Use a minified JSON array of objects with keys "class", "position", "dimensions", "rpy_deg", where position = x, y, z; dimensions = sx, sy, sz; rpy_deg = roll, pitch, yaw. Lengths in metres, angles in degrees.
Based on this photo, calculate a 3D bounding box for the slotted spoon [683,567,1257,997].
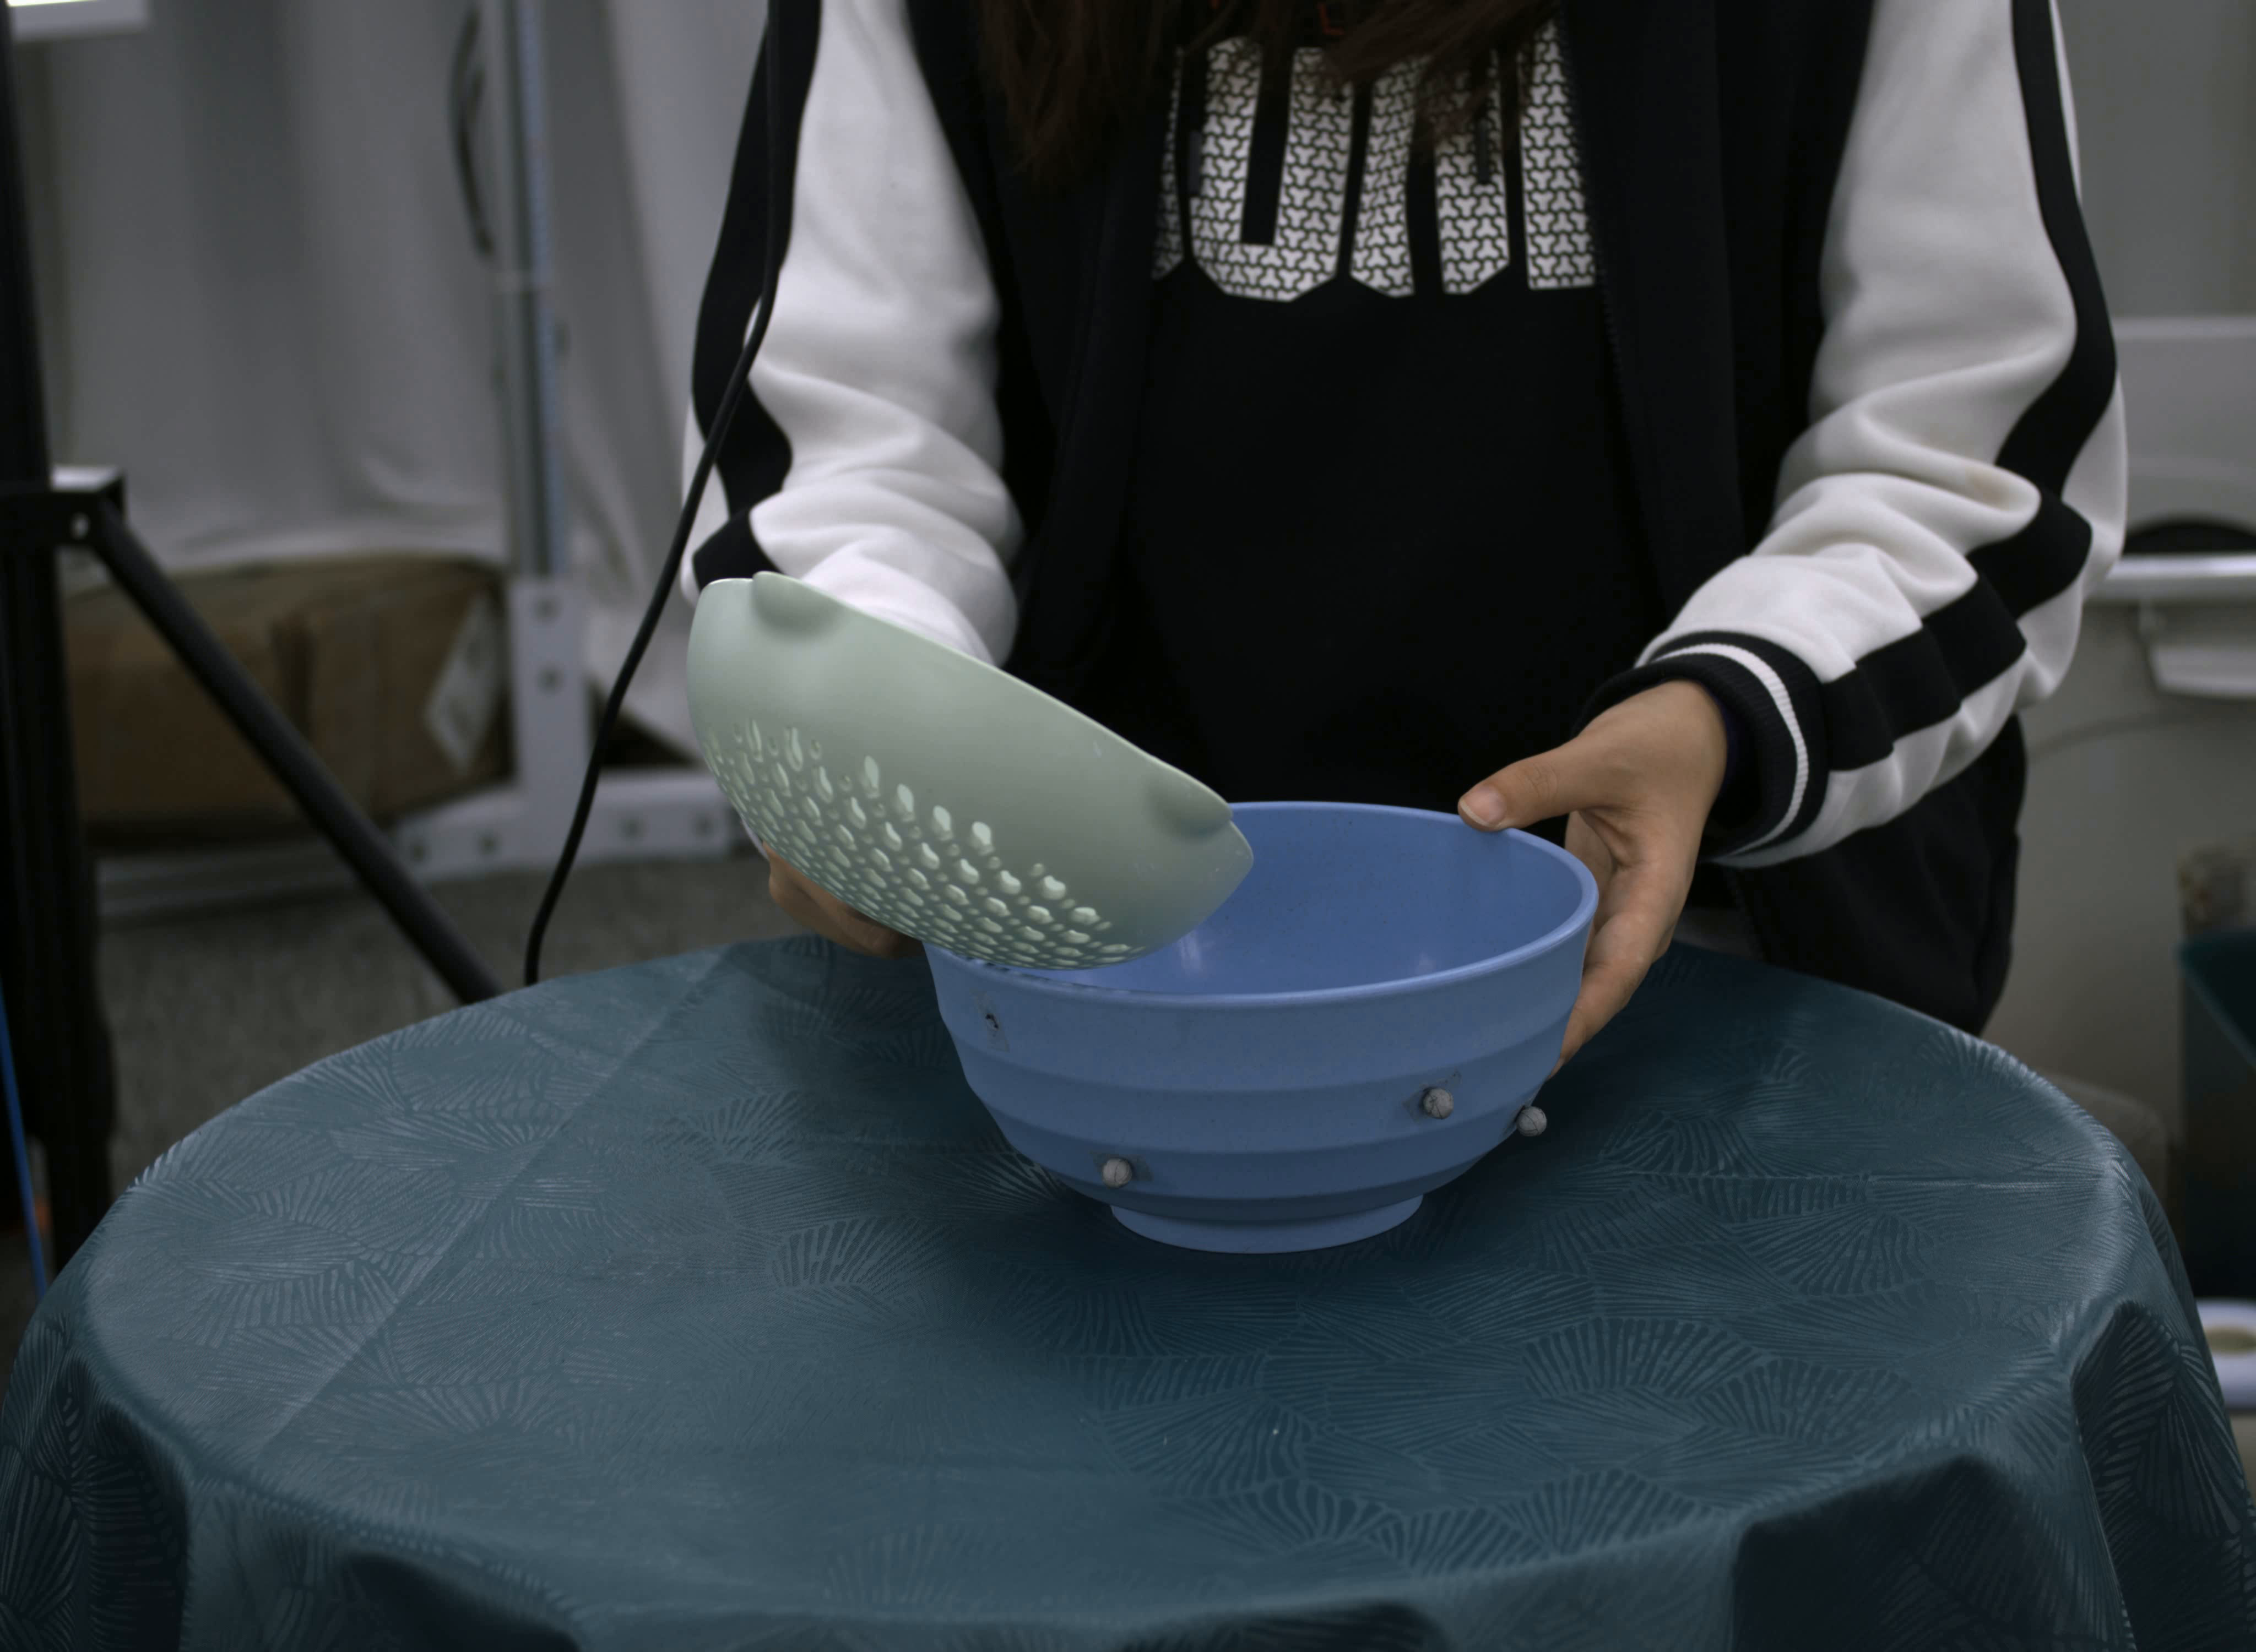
[{"class":"slotted spoon","position":[-0.059,0.005,1.546],"dimensions":[0.169,0.075,0.359],"rpy_deg":[27,-6,-1]}]

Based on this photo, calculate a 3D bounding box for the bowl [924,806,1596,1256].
[{"class":"bowl","position":[0.038,0.064,1.532],"dimensions":[0.195,0.095,0.197],"rpy_deg":[-3,15,-1]}]
